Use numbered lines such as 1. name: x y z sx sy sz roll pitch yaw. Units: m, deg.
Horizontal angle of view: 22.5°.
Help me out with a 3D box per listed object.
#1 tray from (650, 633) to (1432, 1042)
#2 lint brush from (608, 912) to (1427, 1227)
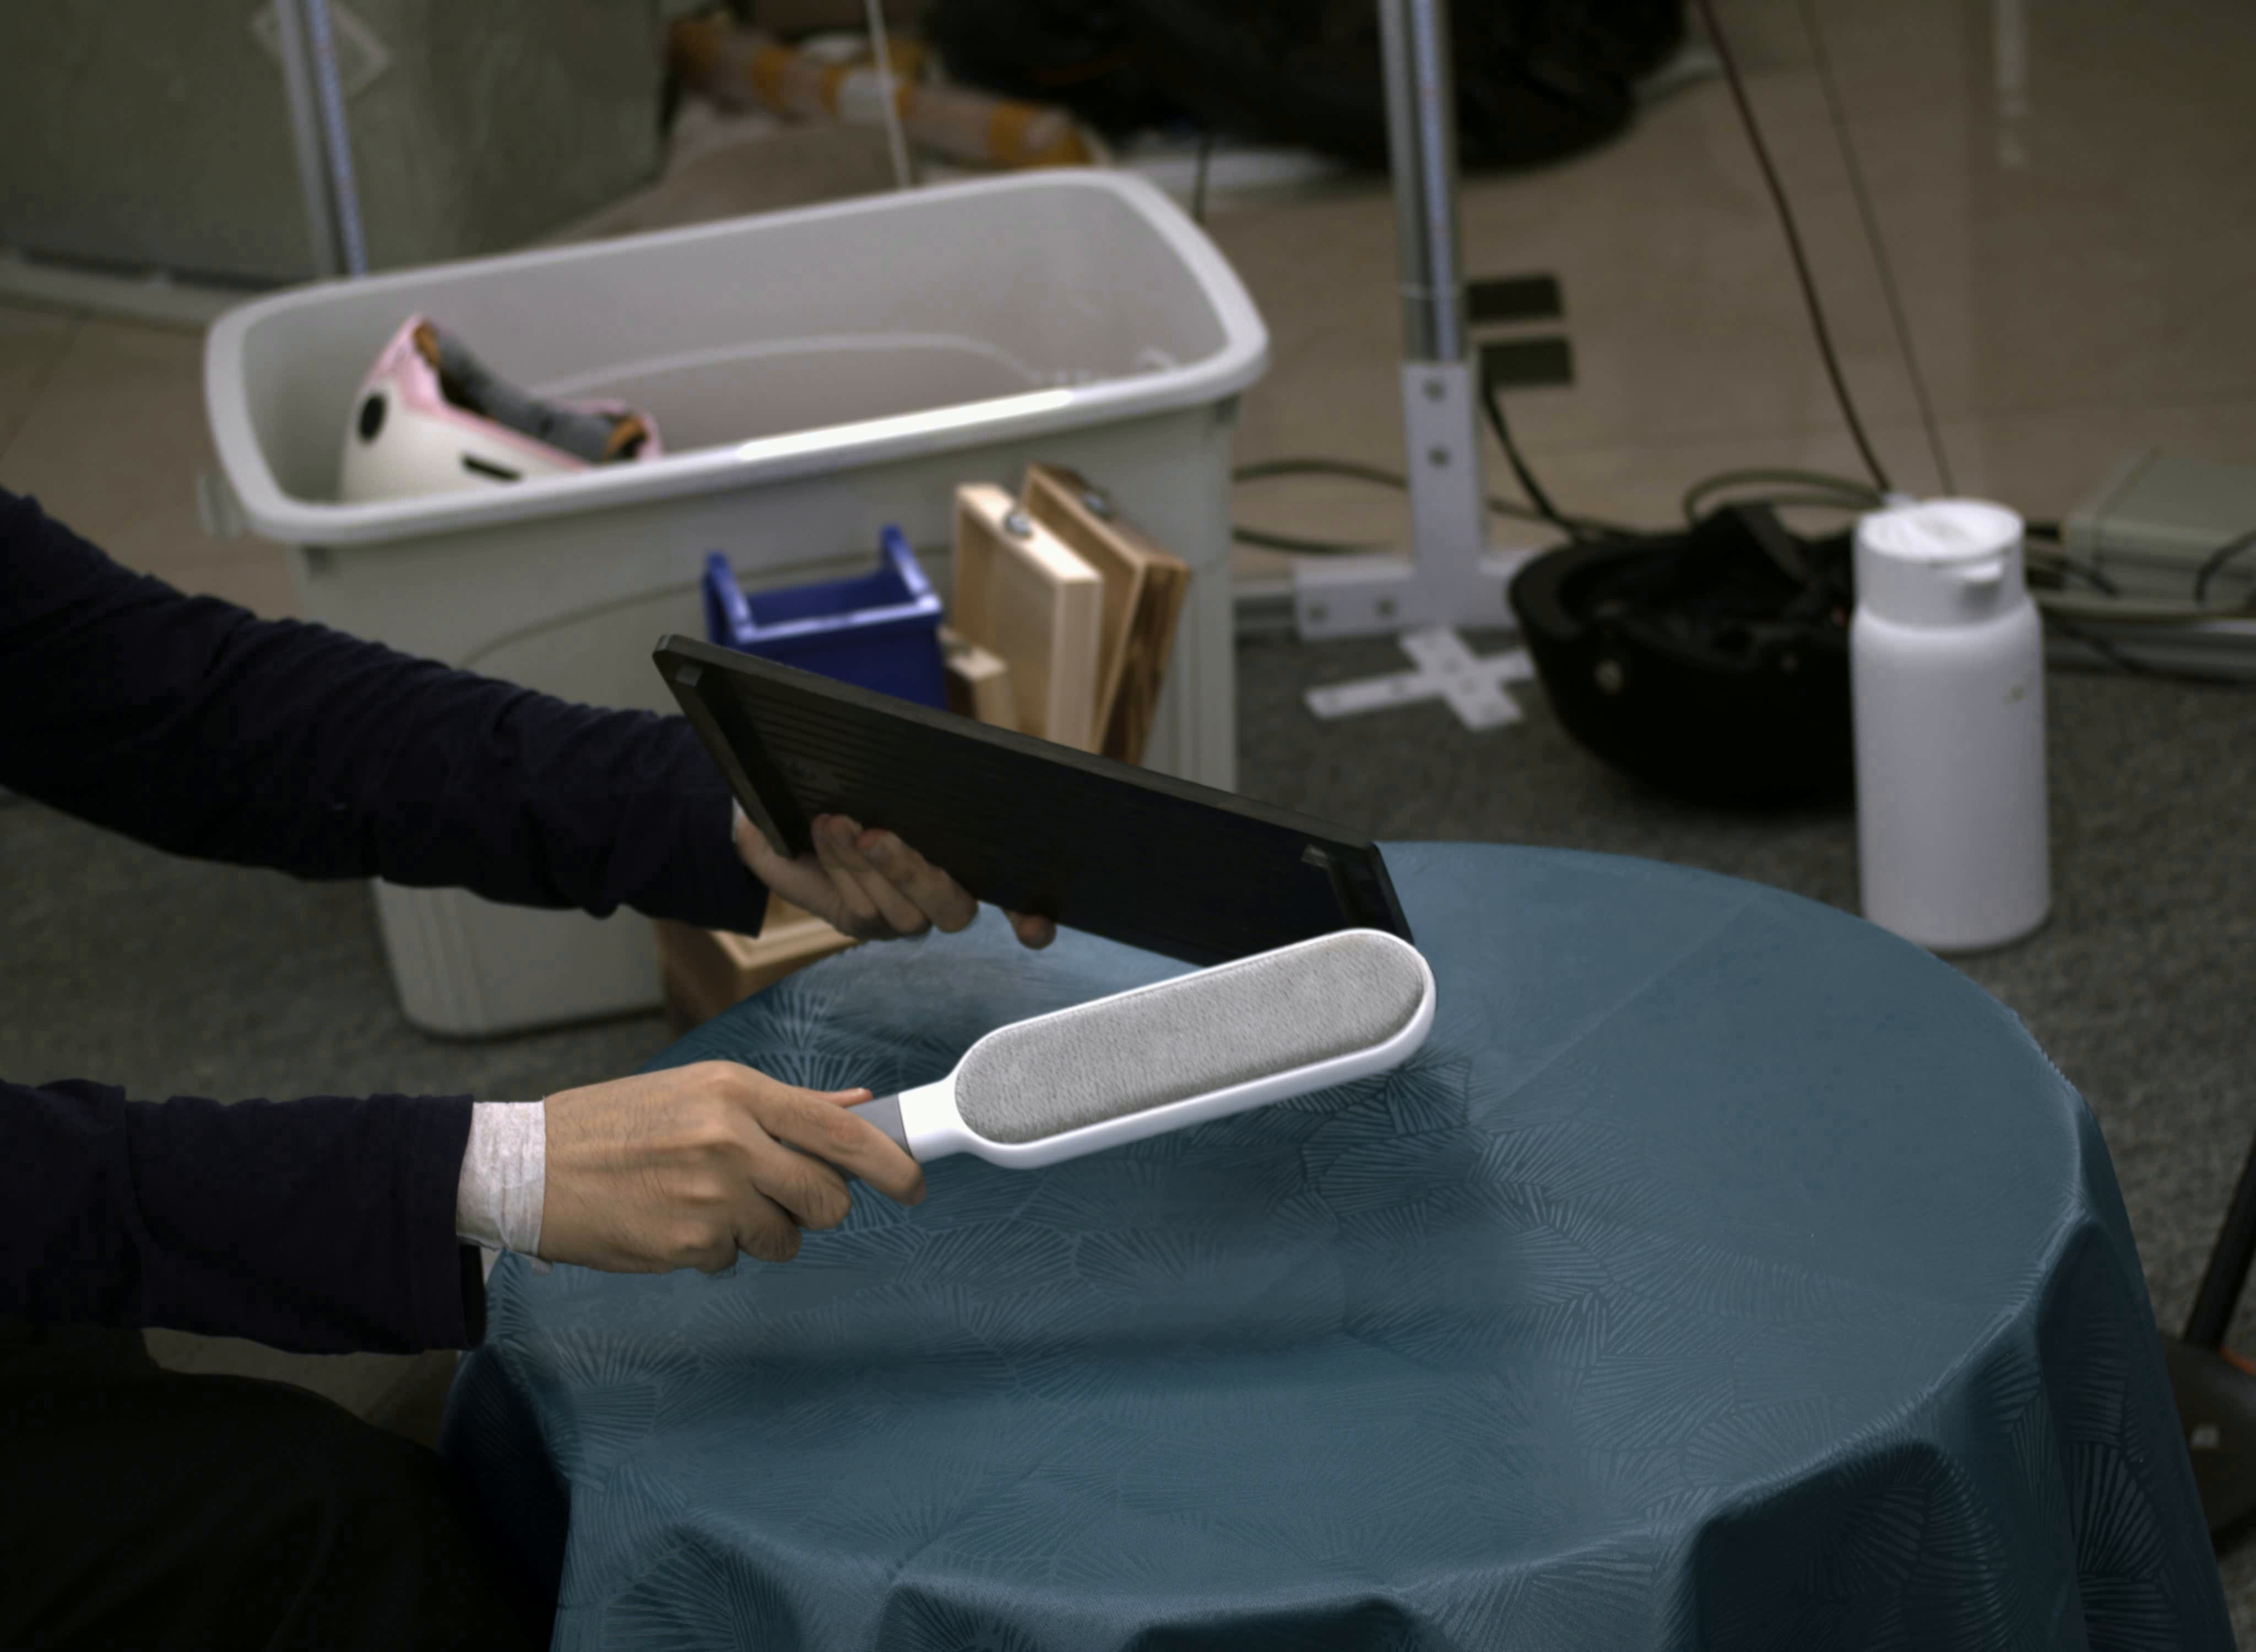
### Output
1. tray: -0.034 0.007 2.203 0.304 0.172 0.018 16 69 19
2. lint brush: -0.041 0.092 2.049 0.308 0.021 0.059 -16 59 4
